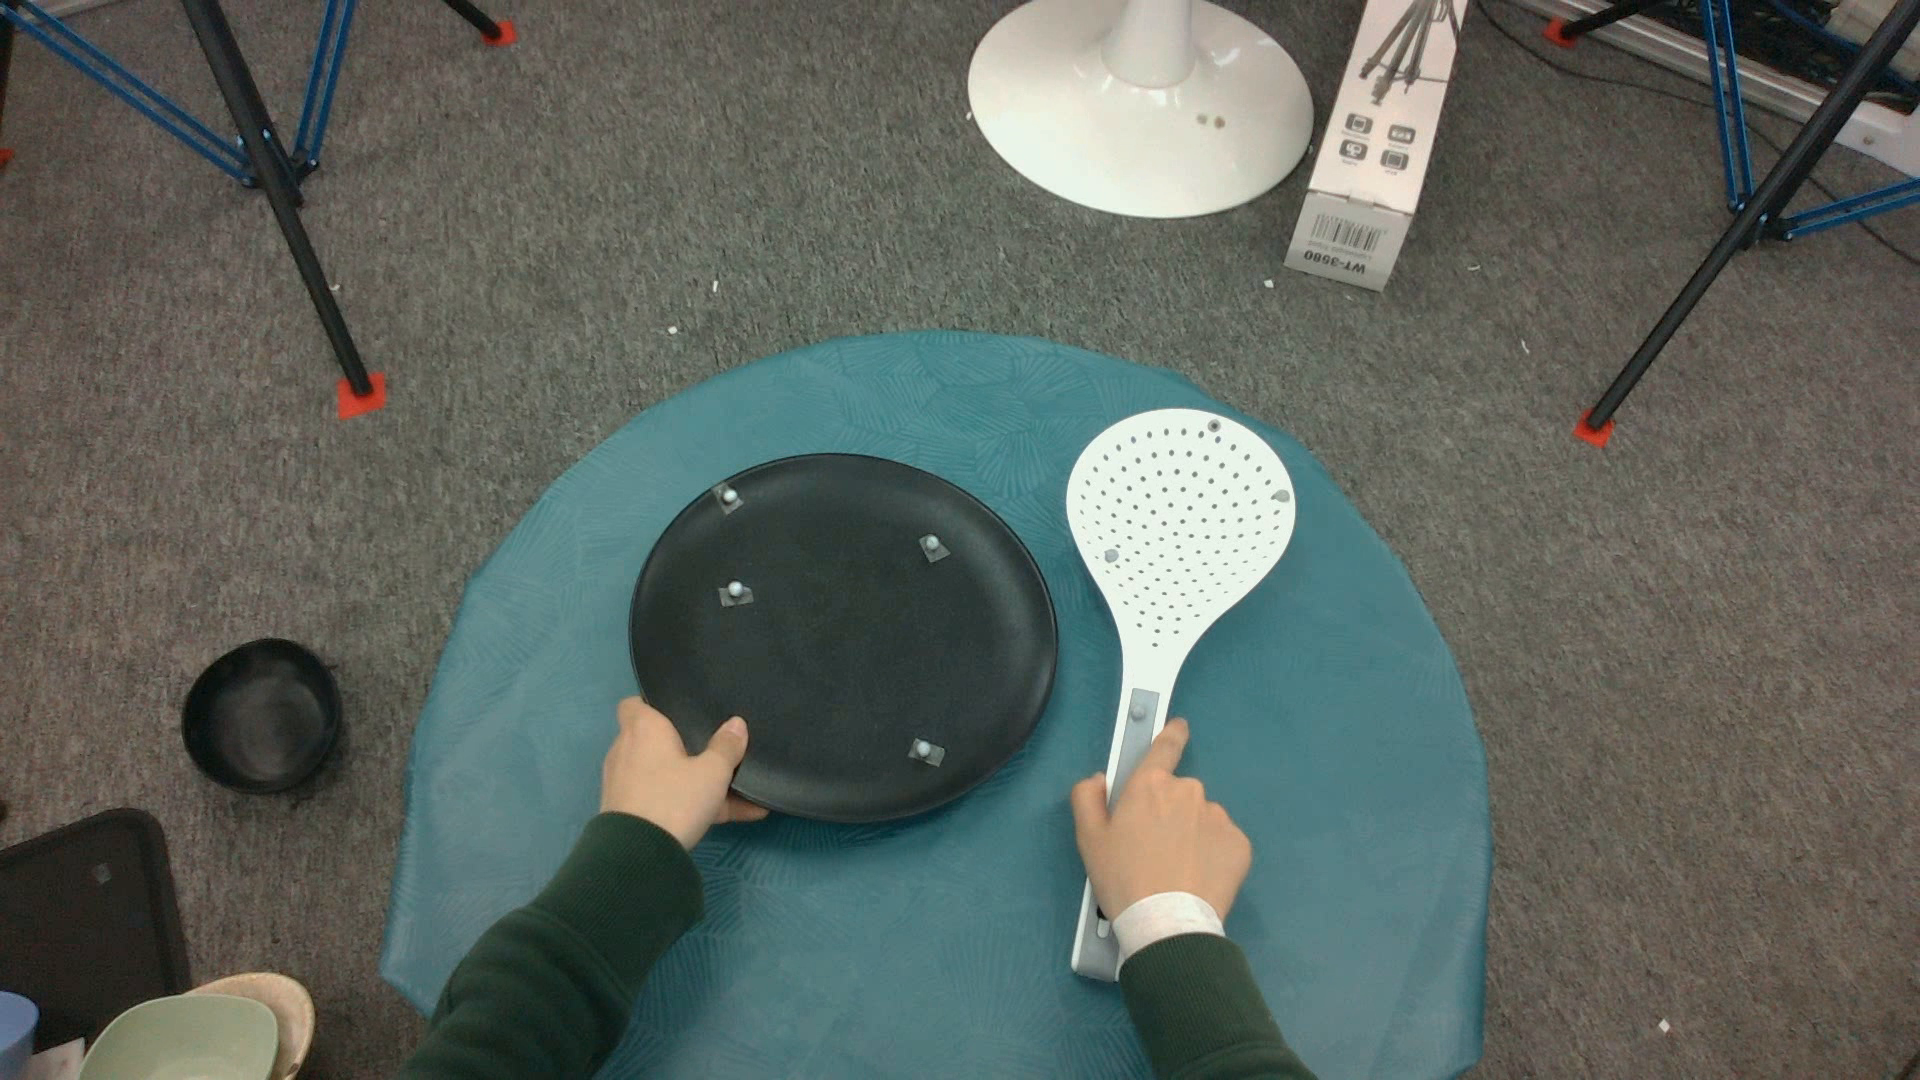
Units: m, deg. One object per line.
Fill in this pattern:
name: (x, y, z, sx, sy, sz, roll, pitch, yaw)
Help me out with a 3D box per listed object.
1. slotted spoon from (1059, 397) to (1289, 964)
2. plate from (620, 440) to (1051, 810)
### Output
slotted spoon: (0.104, 0.065, 0.783, 0.136, 0.045, 0.351, 10, 56, 10)
plate: (-0.069, 0.043, 0.786, 0.244, 0.023, 0.245, 6, 54, -8)
